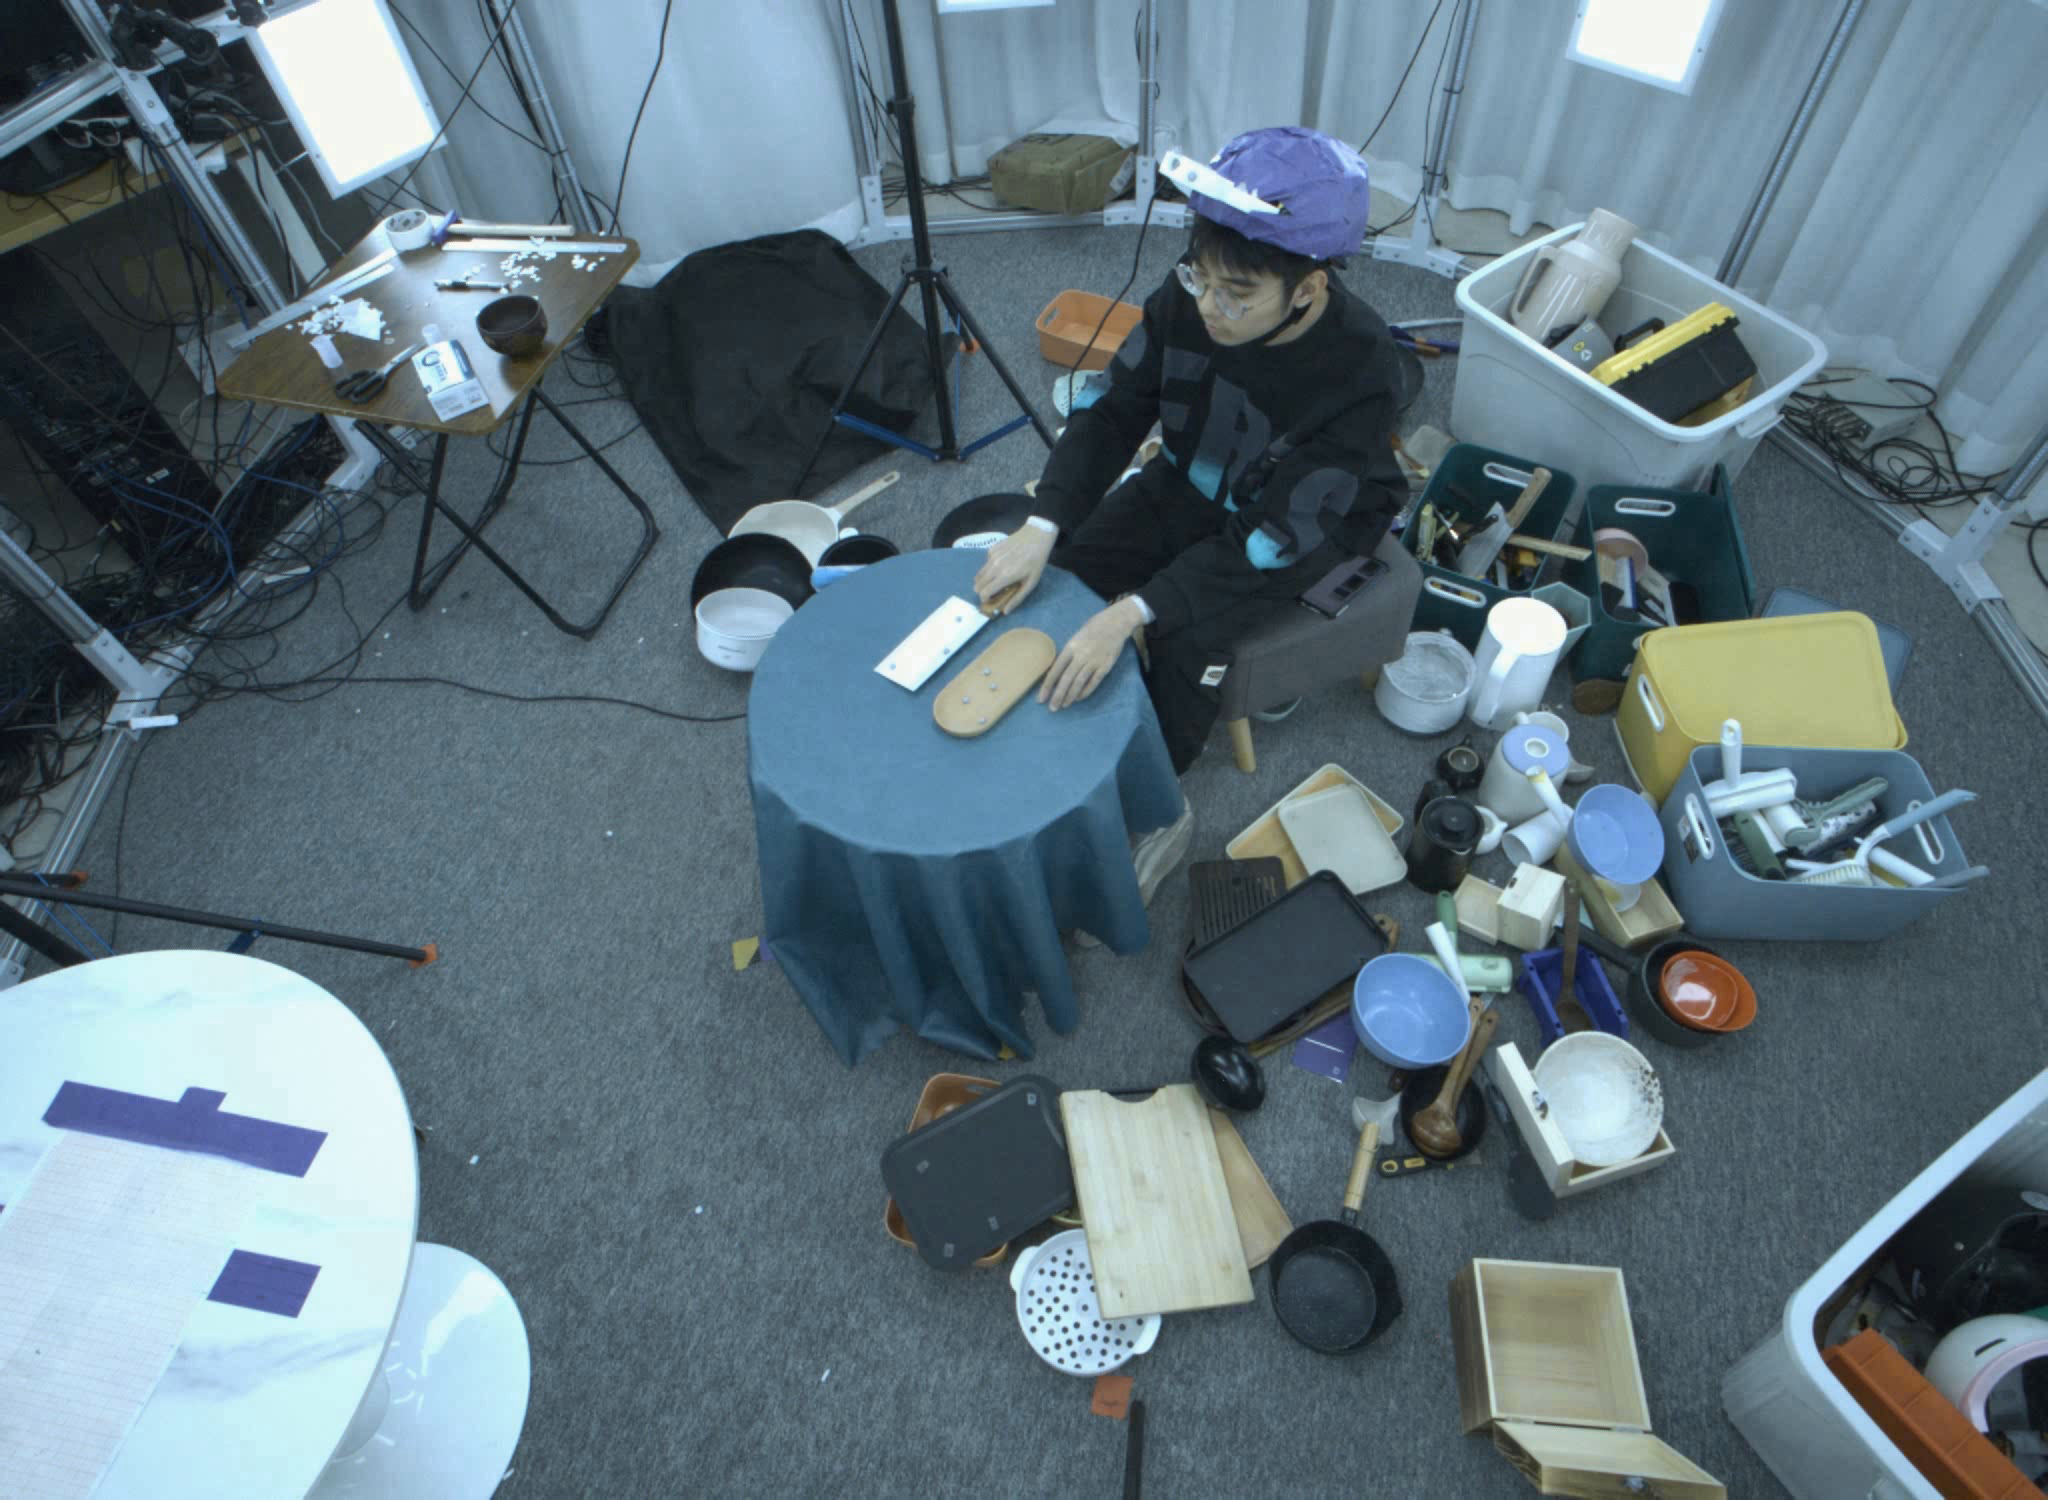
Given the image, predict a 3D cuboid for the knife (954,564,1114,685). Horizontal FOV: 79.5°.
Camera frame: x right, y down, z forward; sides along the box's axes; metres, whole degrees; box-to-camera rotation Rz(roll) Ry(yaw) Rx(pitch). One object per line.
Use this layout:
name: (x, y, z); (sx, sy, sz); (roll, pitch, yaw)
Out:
knife: (0.013, -0.208, 1.923); (0.091, 0.021, 0.308); (33, 63, 32)

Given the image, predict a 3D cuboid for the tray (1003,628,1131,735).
tray: (0.066, -0.104, 1.848); (0.100, 0.020, 0.233); (39, 64, 24)
